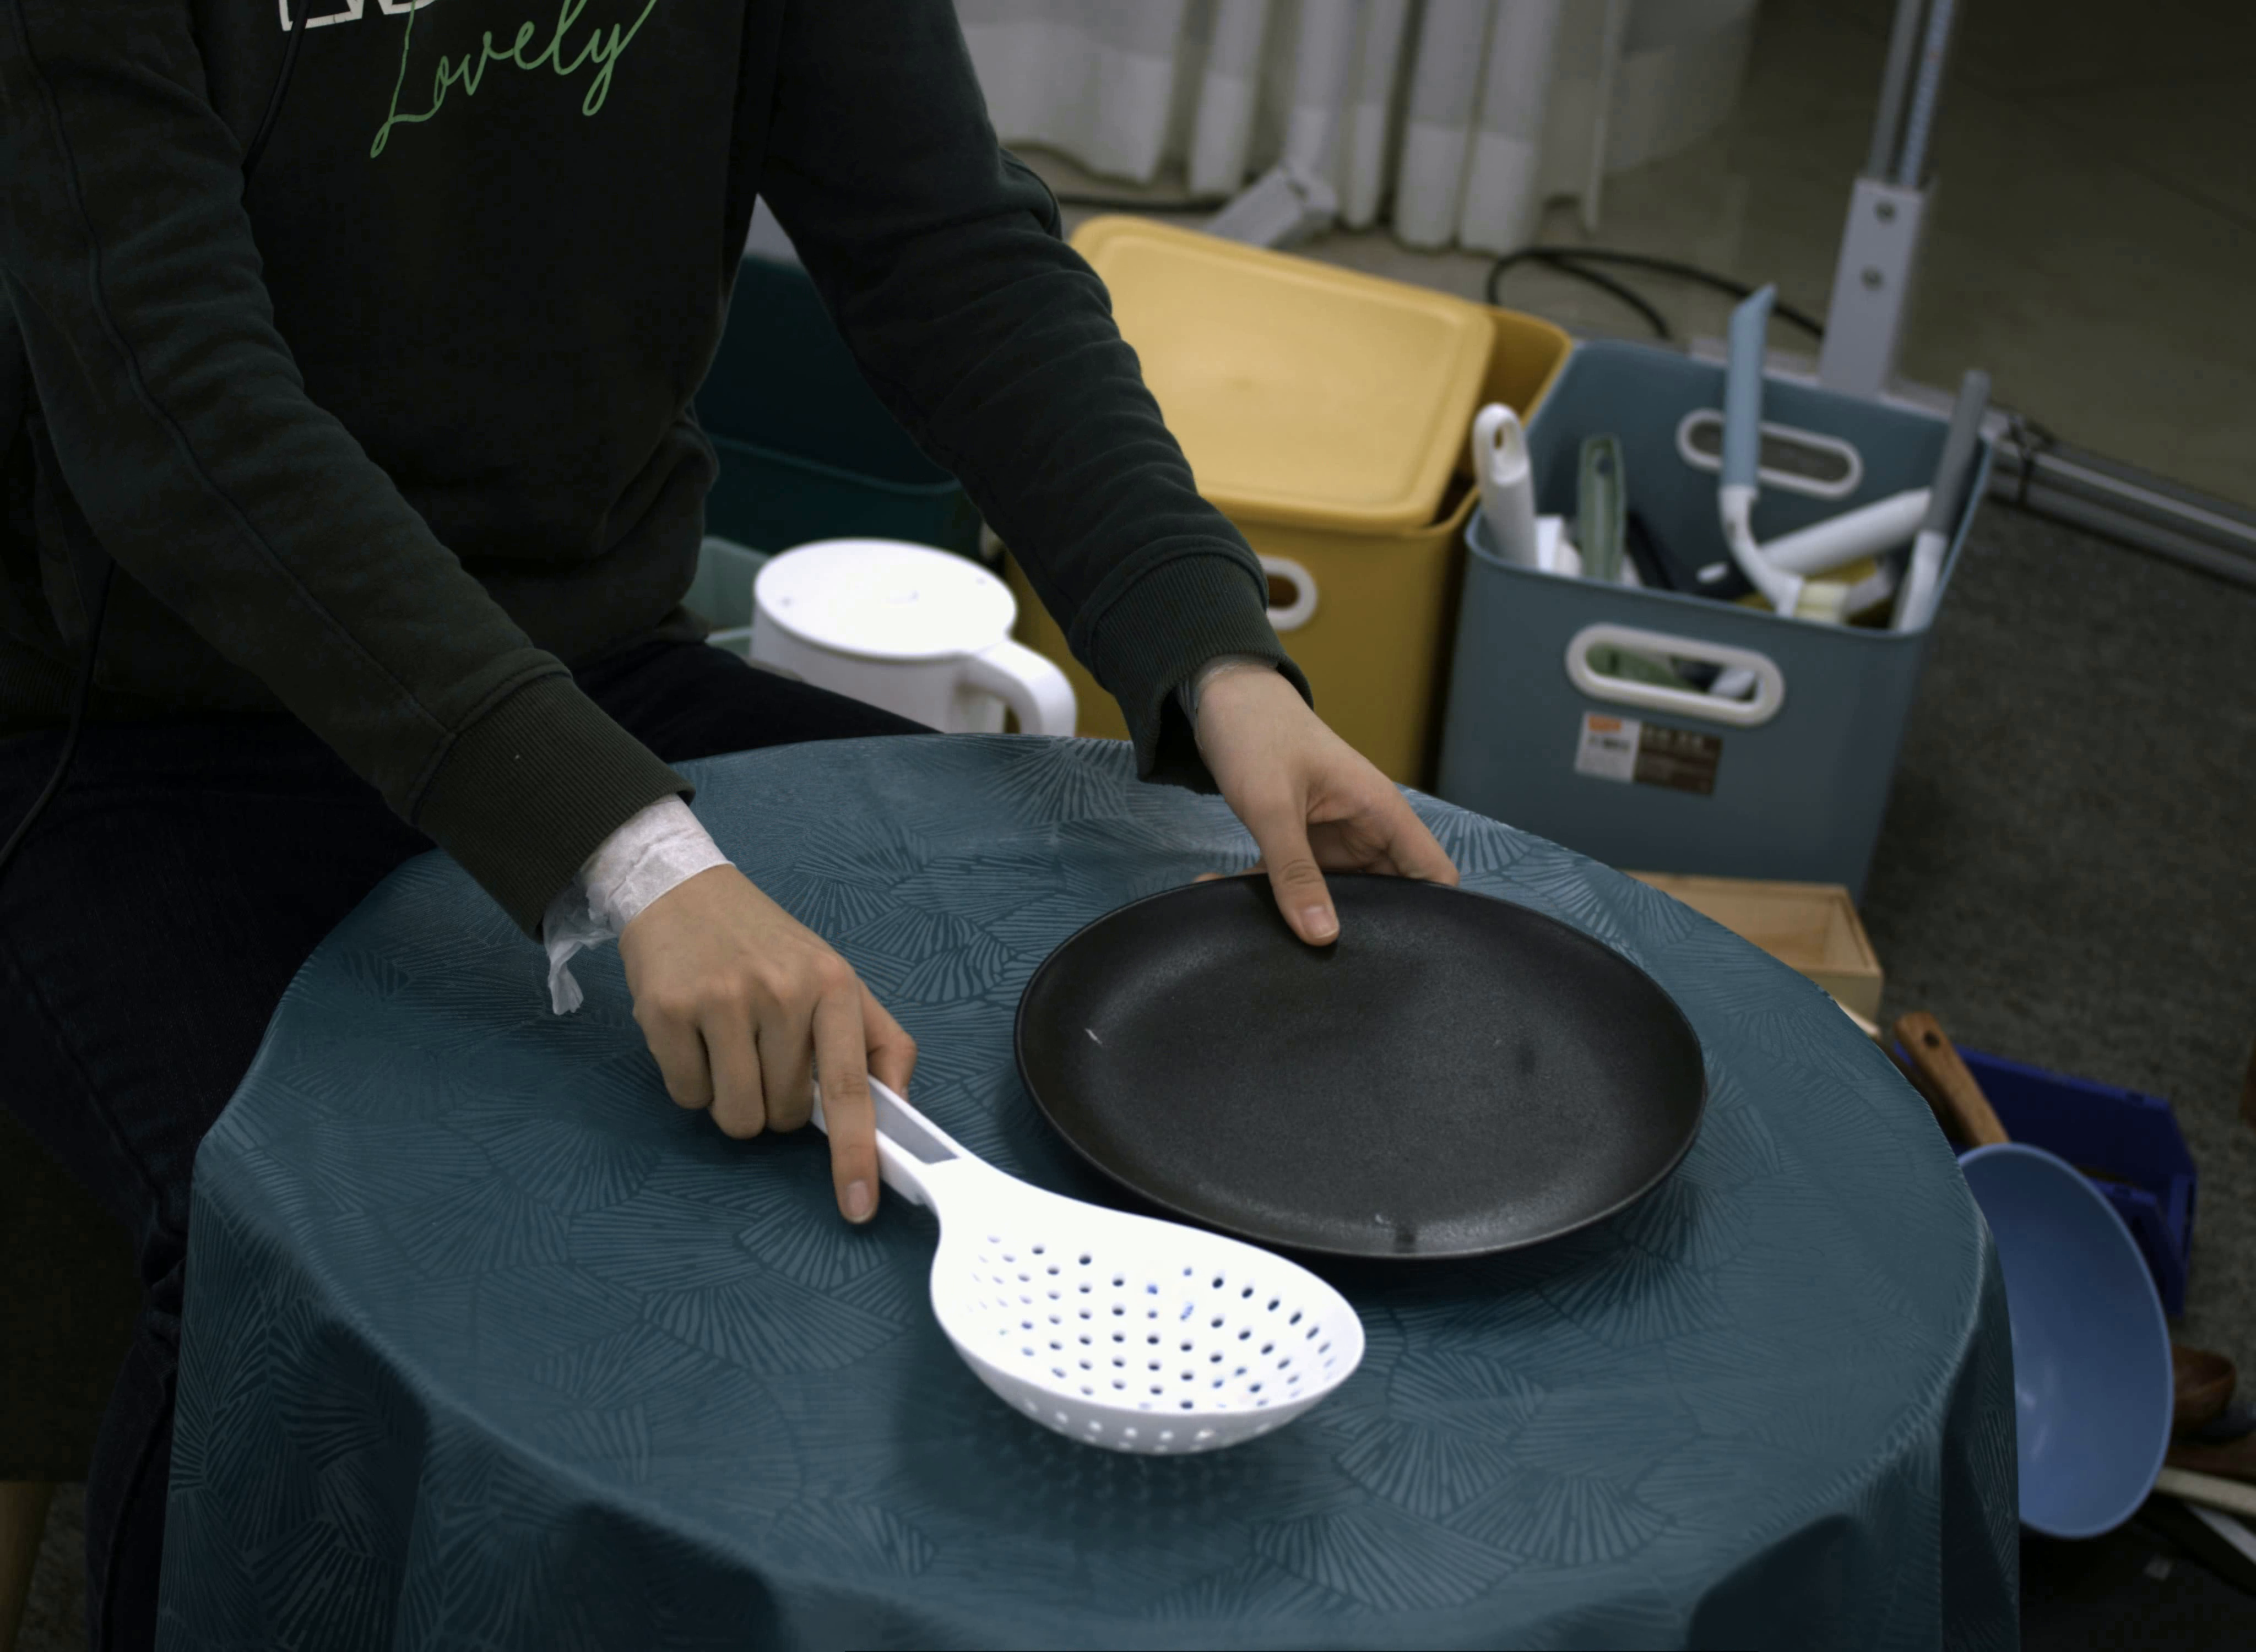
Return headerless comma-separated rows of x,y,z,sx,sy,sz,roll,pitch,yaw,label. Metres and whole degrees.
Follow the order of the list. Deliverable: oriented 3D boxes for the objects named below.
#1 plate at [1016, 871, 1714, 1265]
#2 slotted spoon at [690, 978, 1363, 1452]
0.082,0.088,1.849,0.243,0.023,0.246,2,31,-2,plate
-0.053,0.121,1.743,0.135,0.045,0.353,-4,27,-33,slotted spoon
